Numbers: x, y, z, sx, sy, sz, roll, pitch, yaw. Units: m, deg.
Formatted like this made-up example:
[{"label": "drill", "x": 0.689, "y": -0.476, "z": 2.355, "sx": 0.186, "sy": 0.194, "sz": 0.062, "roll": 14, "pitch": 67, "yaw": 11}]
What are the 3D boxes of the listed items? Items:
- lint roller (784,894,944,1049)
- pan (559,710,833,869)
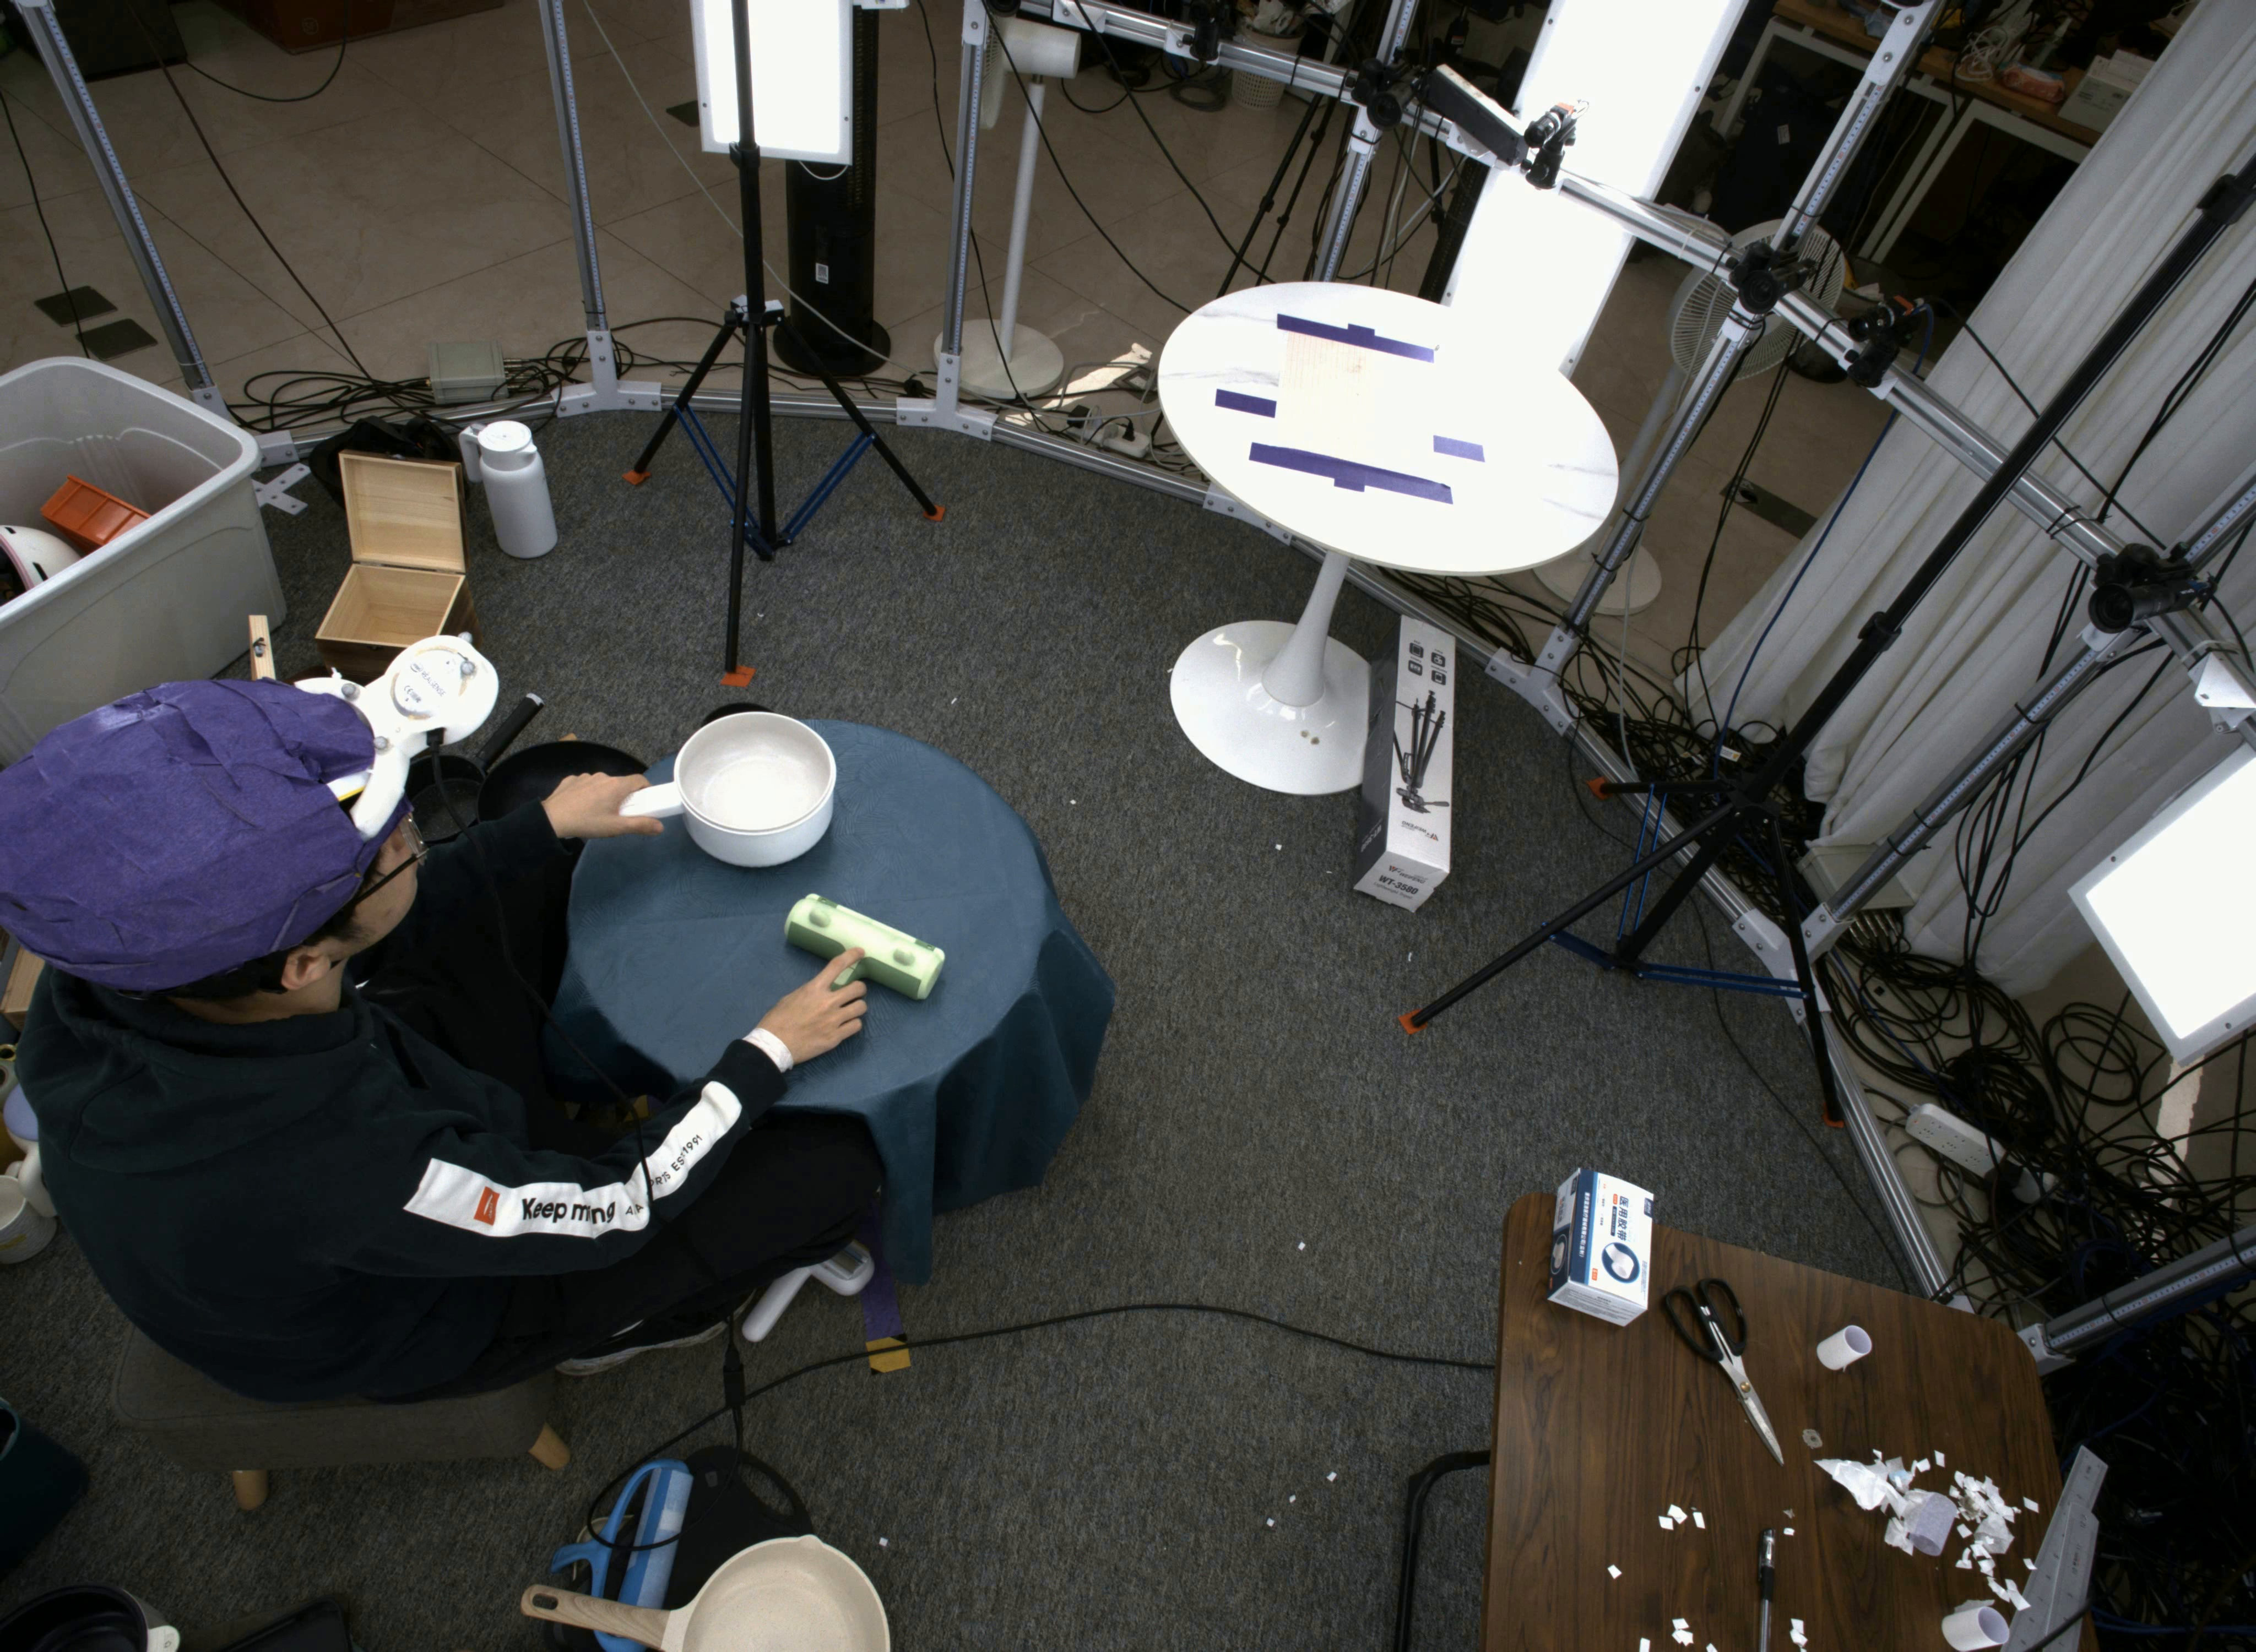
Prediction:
[{"label": "lint roller", "x": -0.347, "y": 0.179, "z": 1.569, "sx": 0.196, "sy": 0.084, "sz": 0.182, "roll": 24, "pitch": 47, "yaw": 4}, {"label": "pan", "x": -0.552, "y": -0.025, "z": 1.651, "sx": 0.356, "sy": 0.104, "sz": 0.196, "roll": -15, "pitch": 60, "yaw": -23}]
